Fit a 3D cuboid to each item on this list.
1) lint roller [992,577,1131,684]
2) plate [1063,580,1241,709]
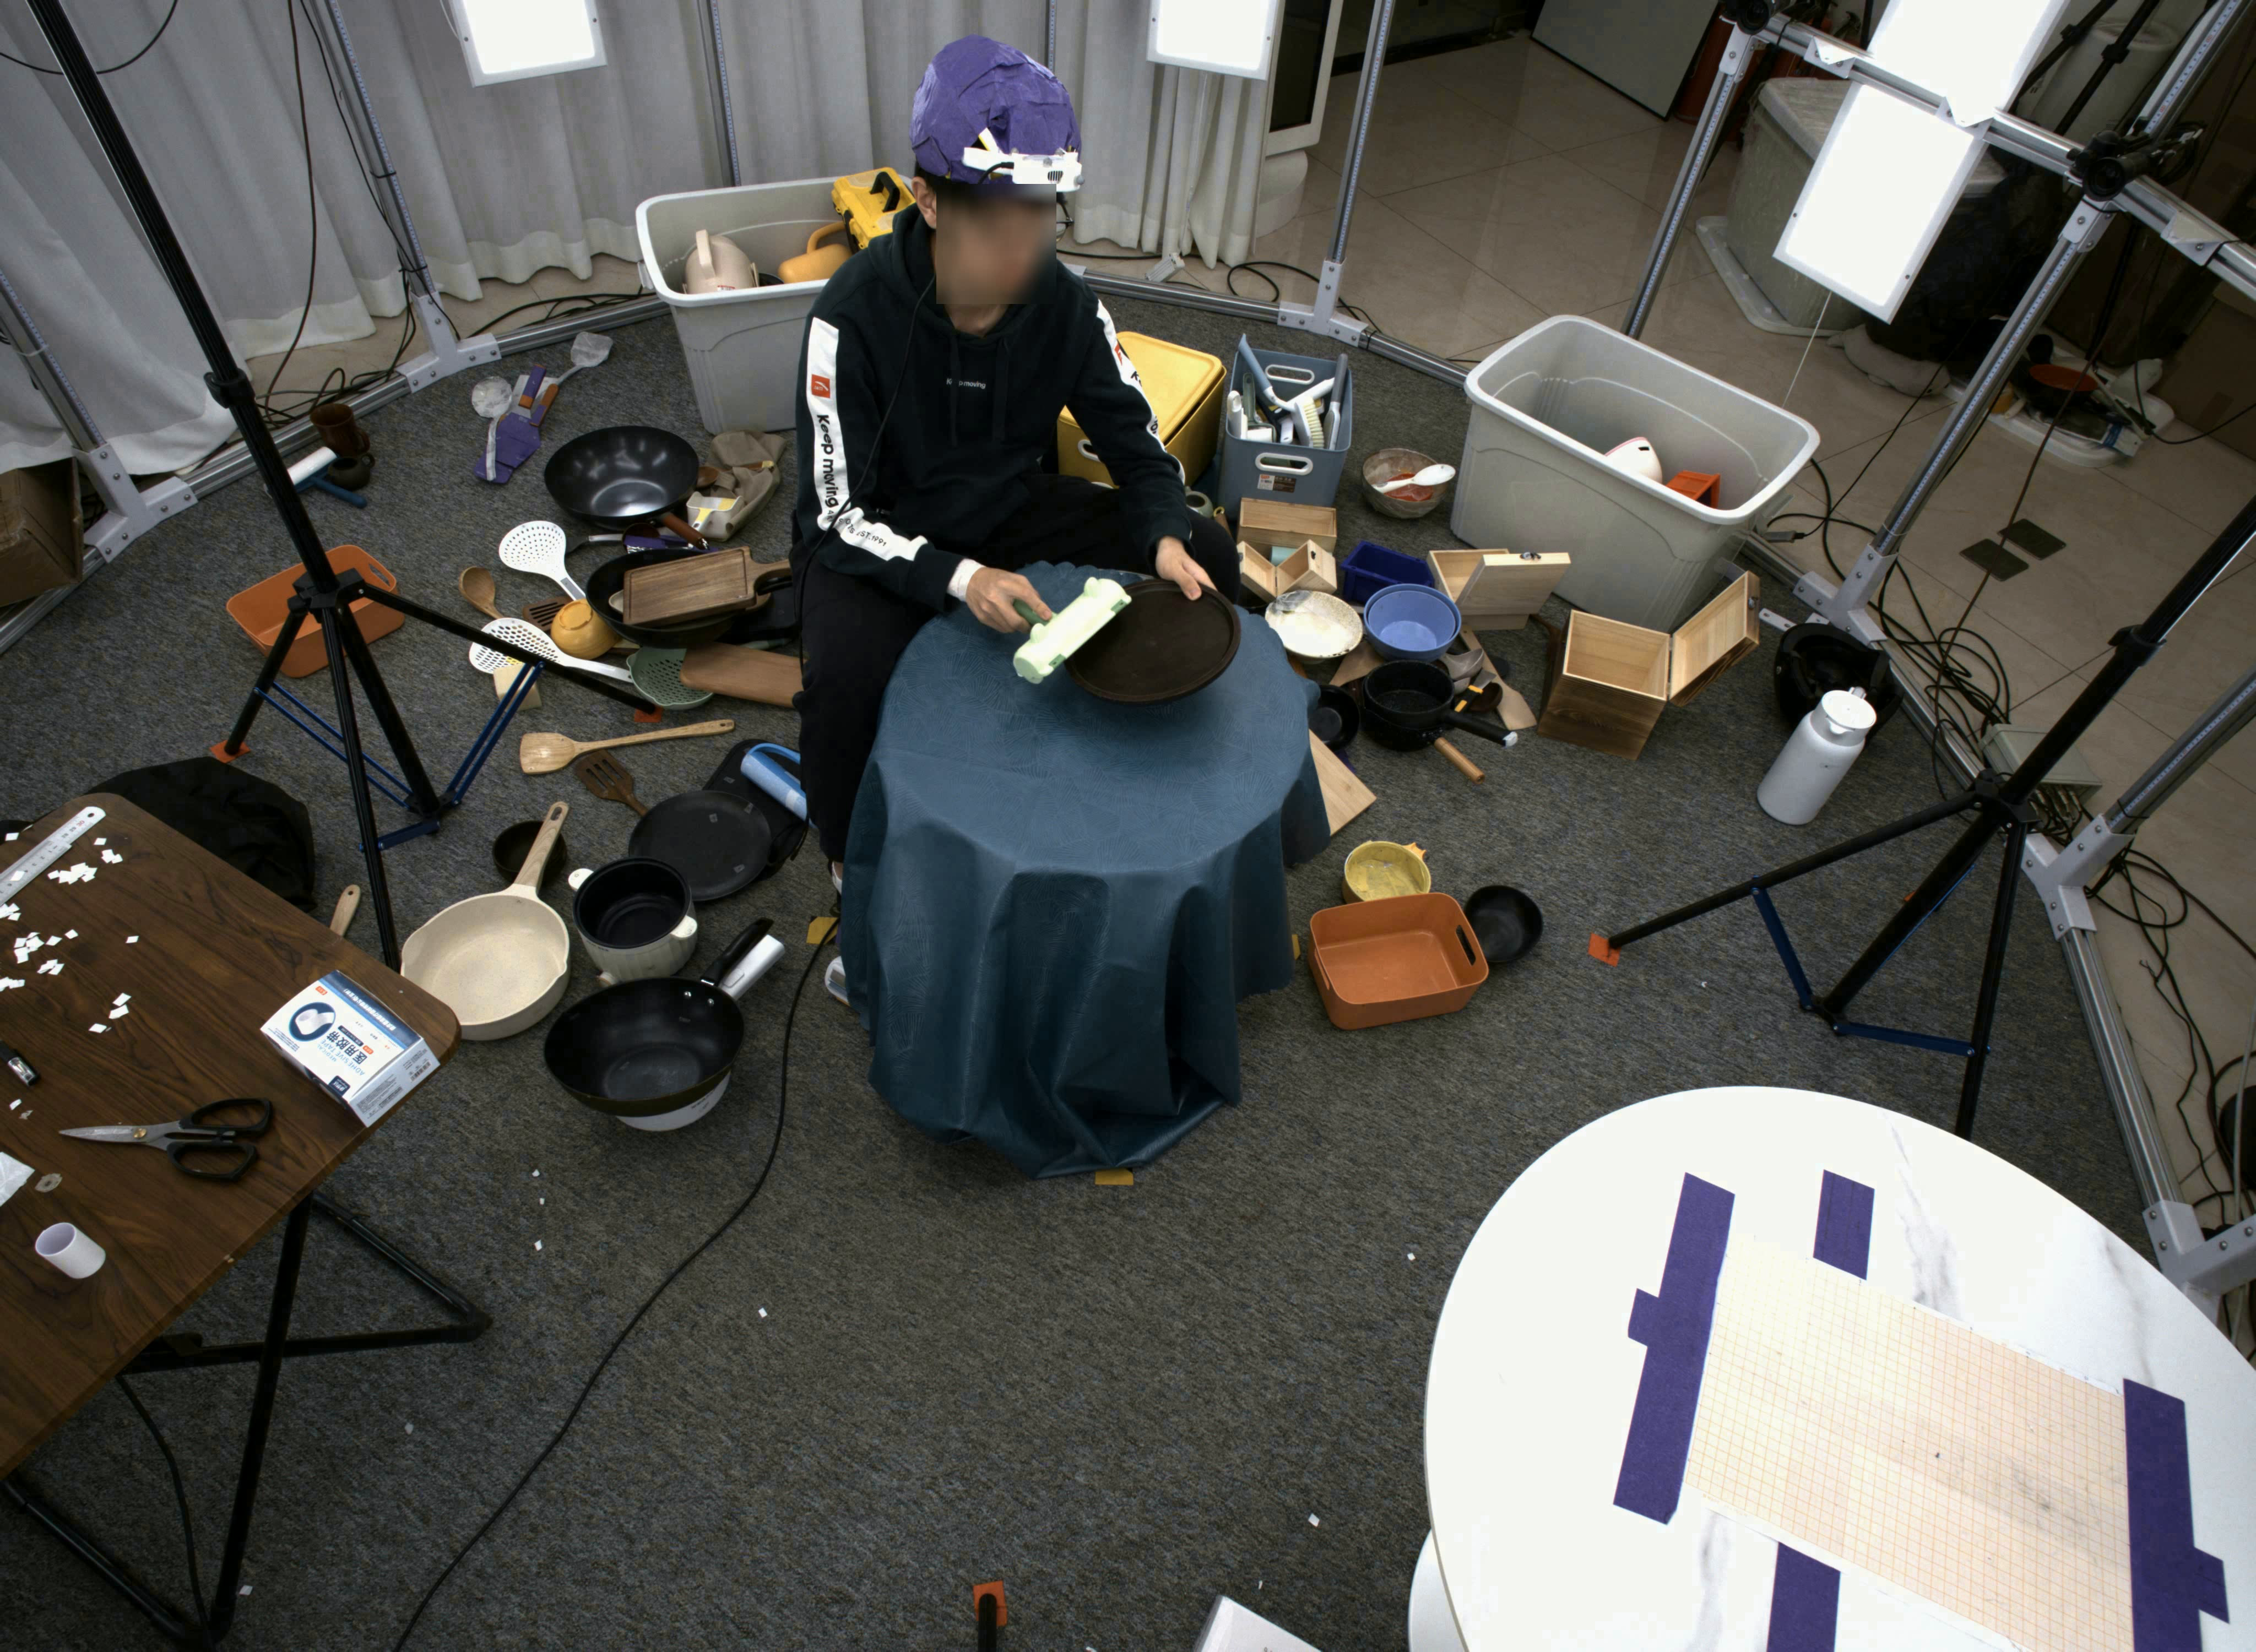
[{"bbox_3d":[-0.123,-0.304,1.803,0.185,0.080,0.201,31,58,23],"label":"lint roller"},{"bbox_3d":[0.032,-0.256,1.793,0.255,0.028,0.261,-7,49,8],"label":"plate"}]
